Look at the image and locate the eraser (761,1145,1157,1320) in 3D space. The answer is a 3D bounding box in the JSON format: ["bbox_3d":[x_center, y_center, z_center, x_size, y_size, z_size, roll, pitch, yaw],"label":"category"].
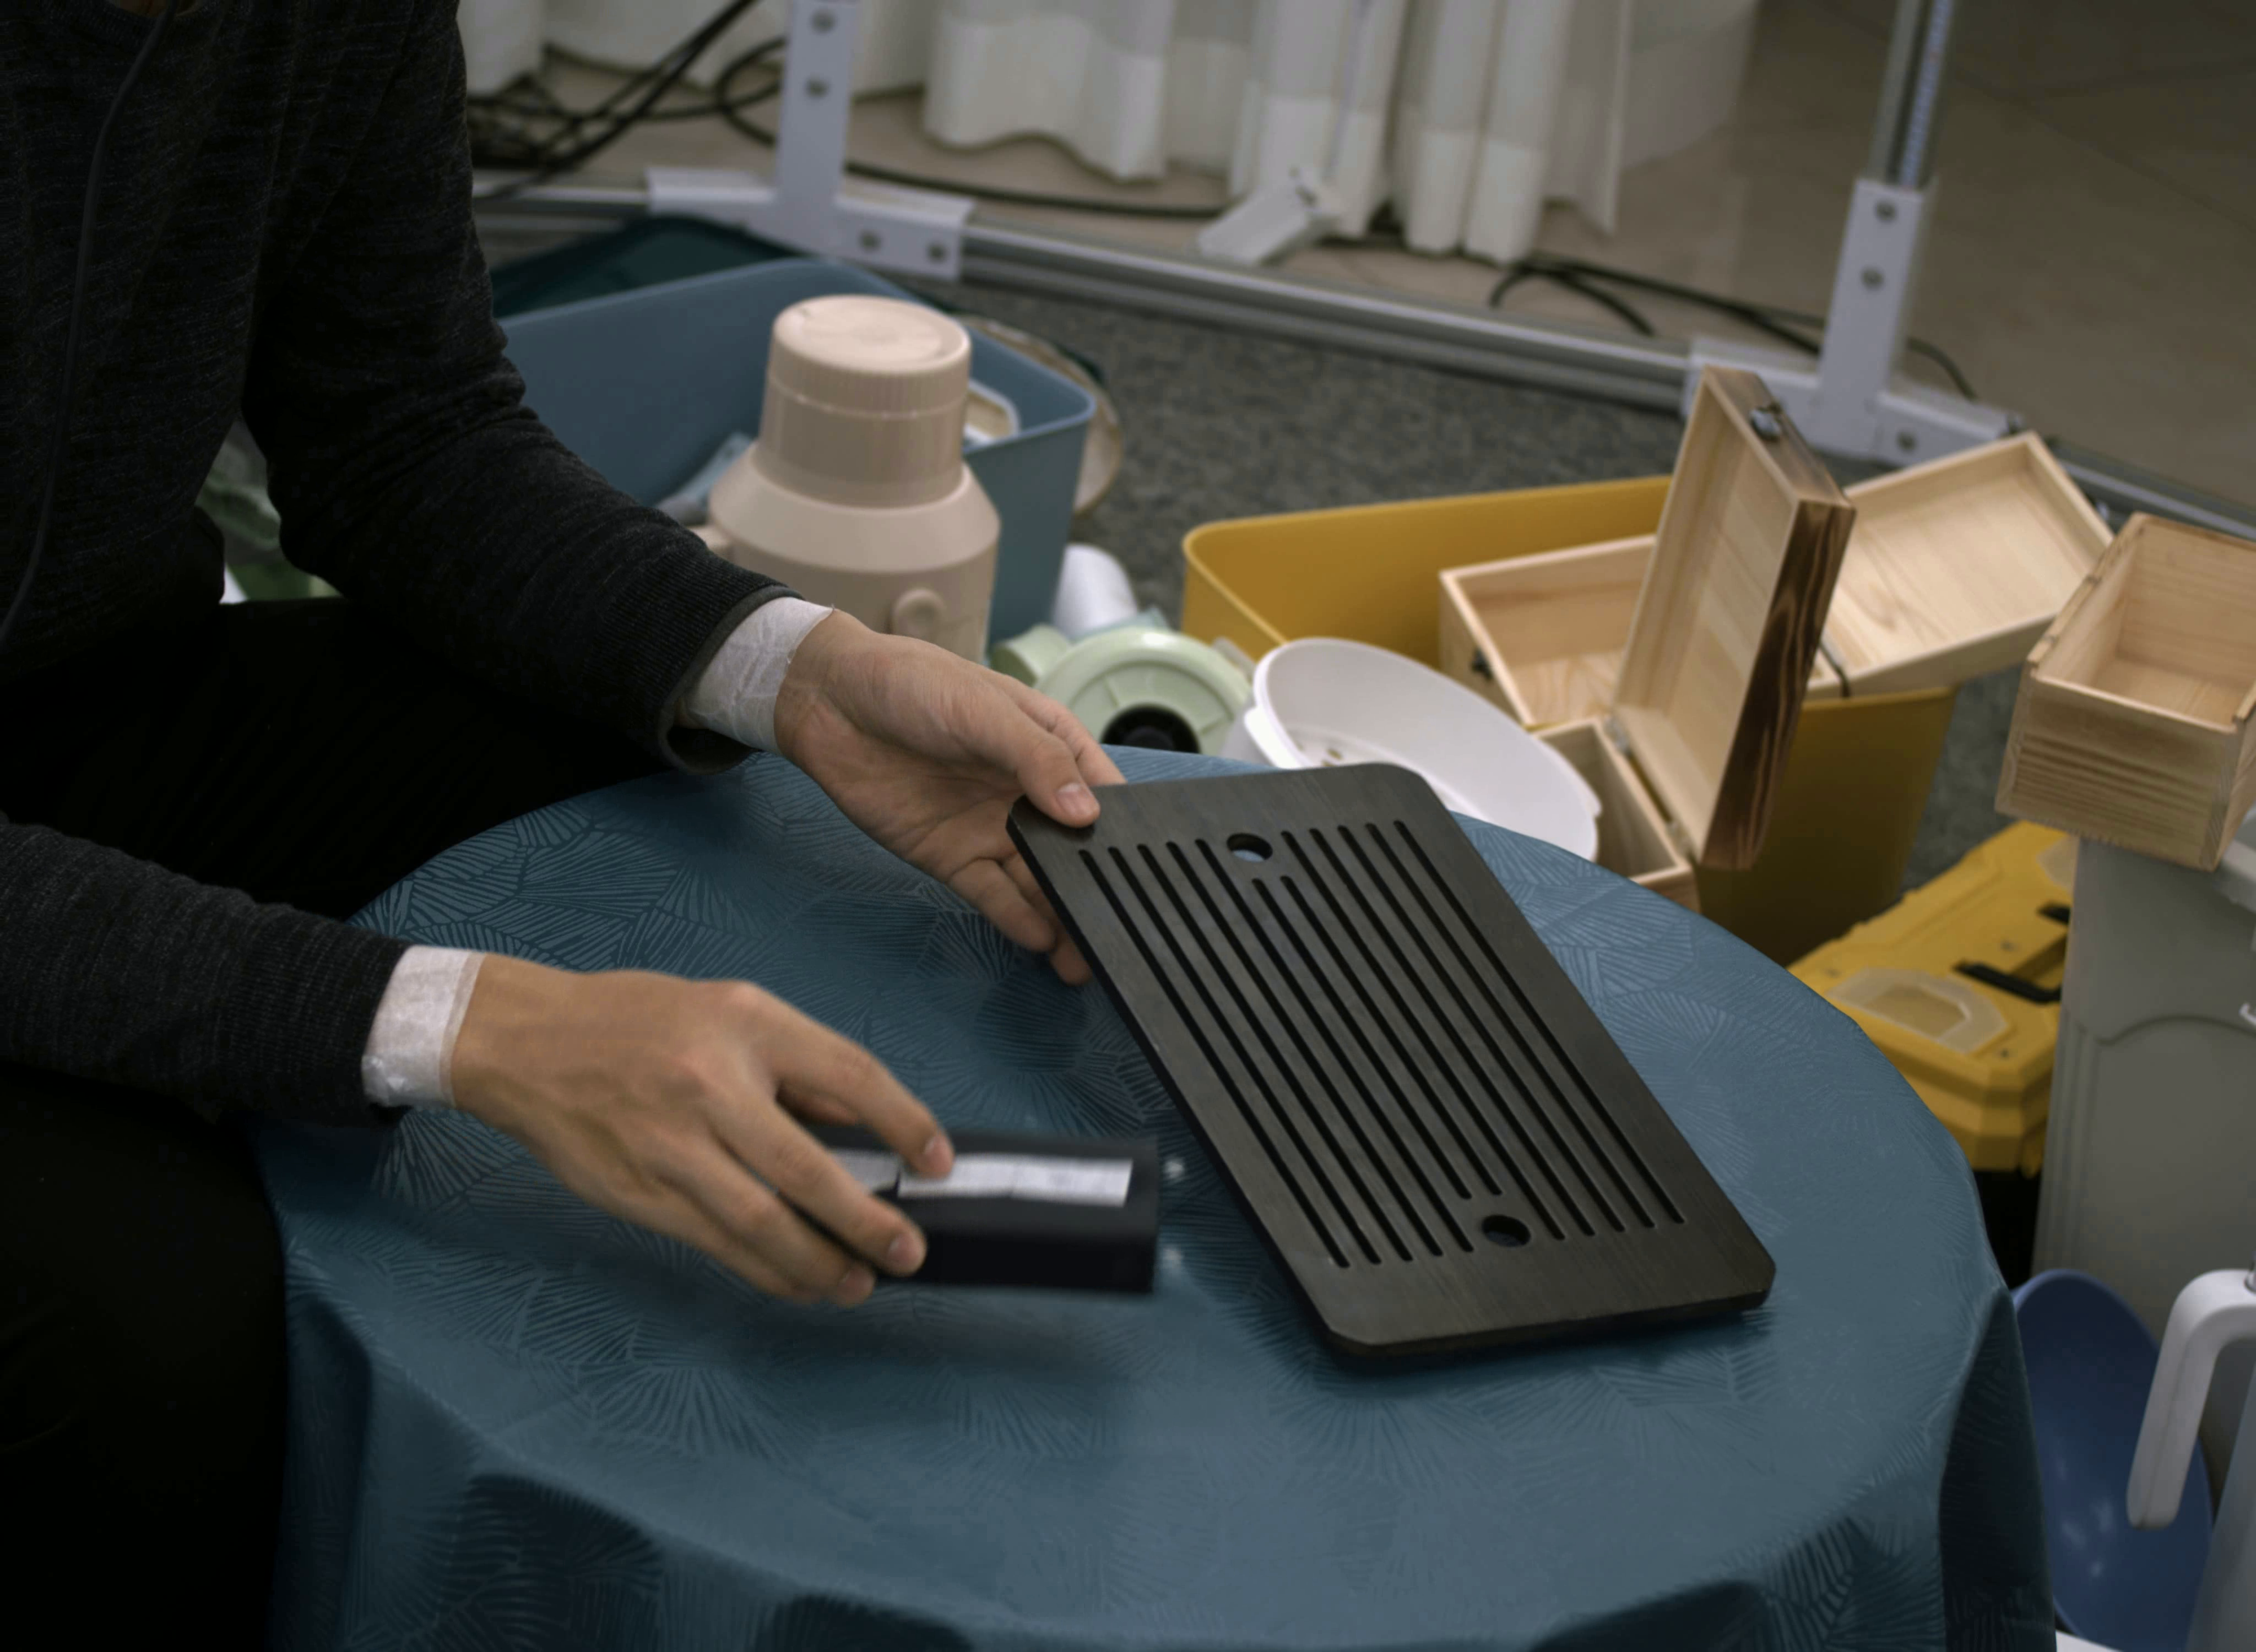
[{"bbox_3d":[-0.053,0.129,1.693,0.125,0.030,0.054,3,33,2],"label":"eraser"}]

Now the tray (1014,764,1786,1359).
[{"bbox_3d":[0.089,0.077,1.847,0.169,0.018,0.309,-5,37,-24],"label":"tray"}]
